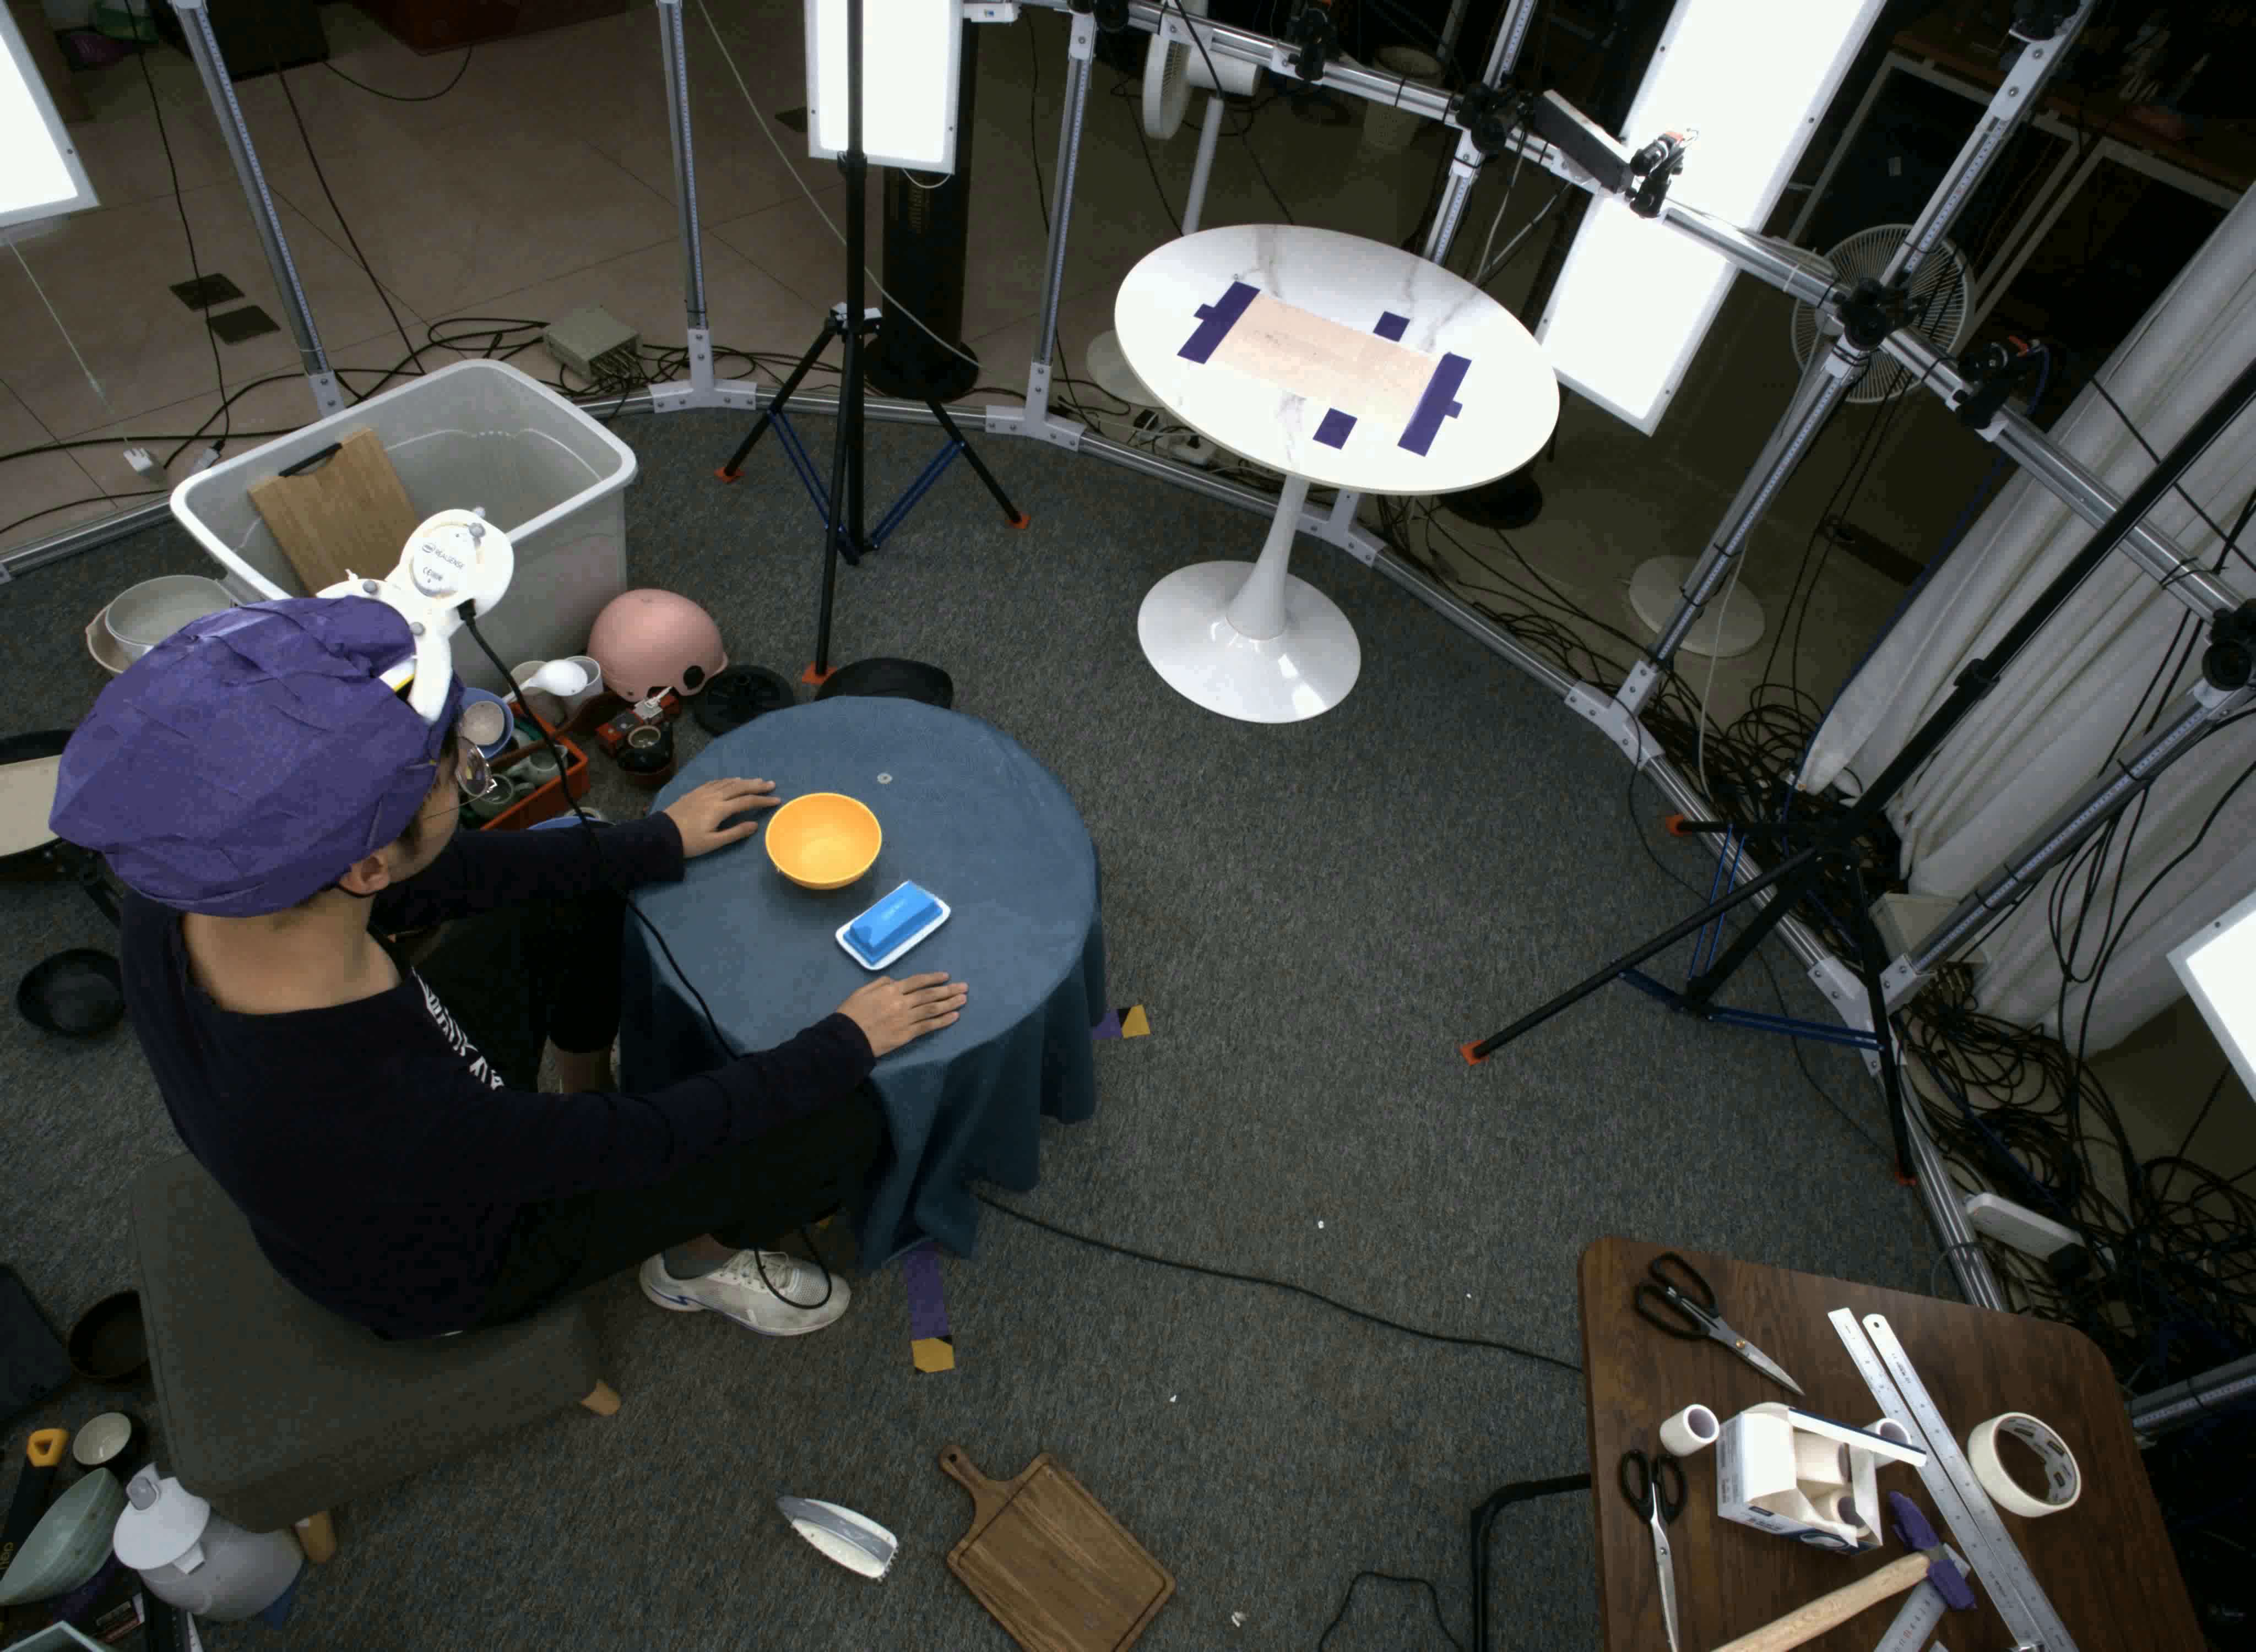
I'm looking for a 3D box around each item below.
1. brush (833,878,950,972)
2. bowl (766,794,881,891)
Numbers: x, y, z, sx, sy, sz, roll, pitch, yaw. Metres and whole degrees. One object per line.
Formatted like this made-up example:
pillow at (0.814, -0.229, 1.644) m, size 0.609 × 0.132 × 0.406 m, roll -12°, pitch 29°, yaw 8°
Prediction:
brush at (-0.296, 0.115, 1.632) m, size 0.081 × 0.057 × 0.144 m, roll 39°, pitch 52°, yaw 21°
bowl at (-0.392, 0.032, 1.673) m, size 0.145 × 0.061 × 0.142 m, roll 8°, pitch 51°, yaw -8°
